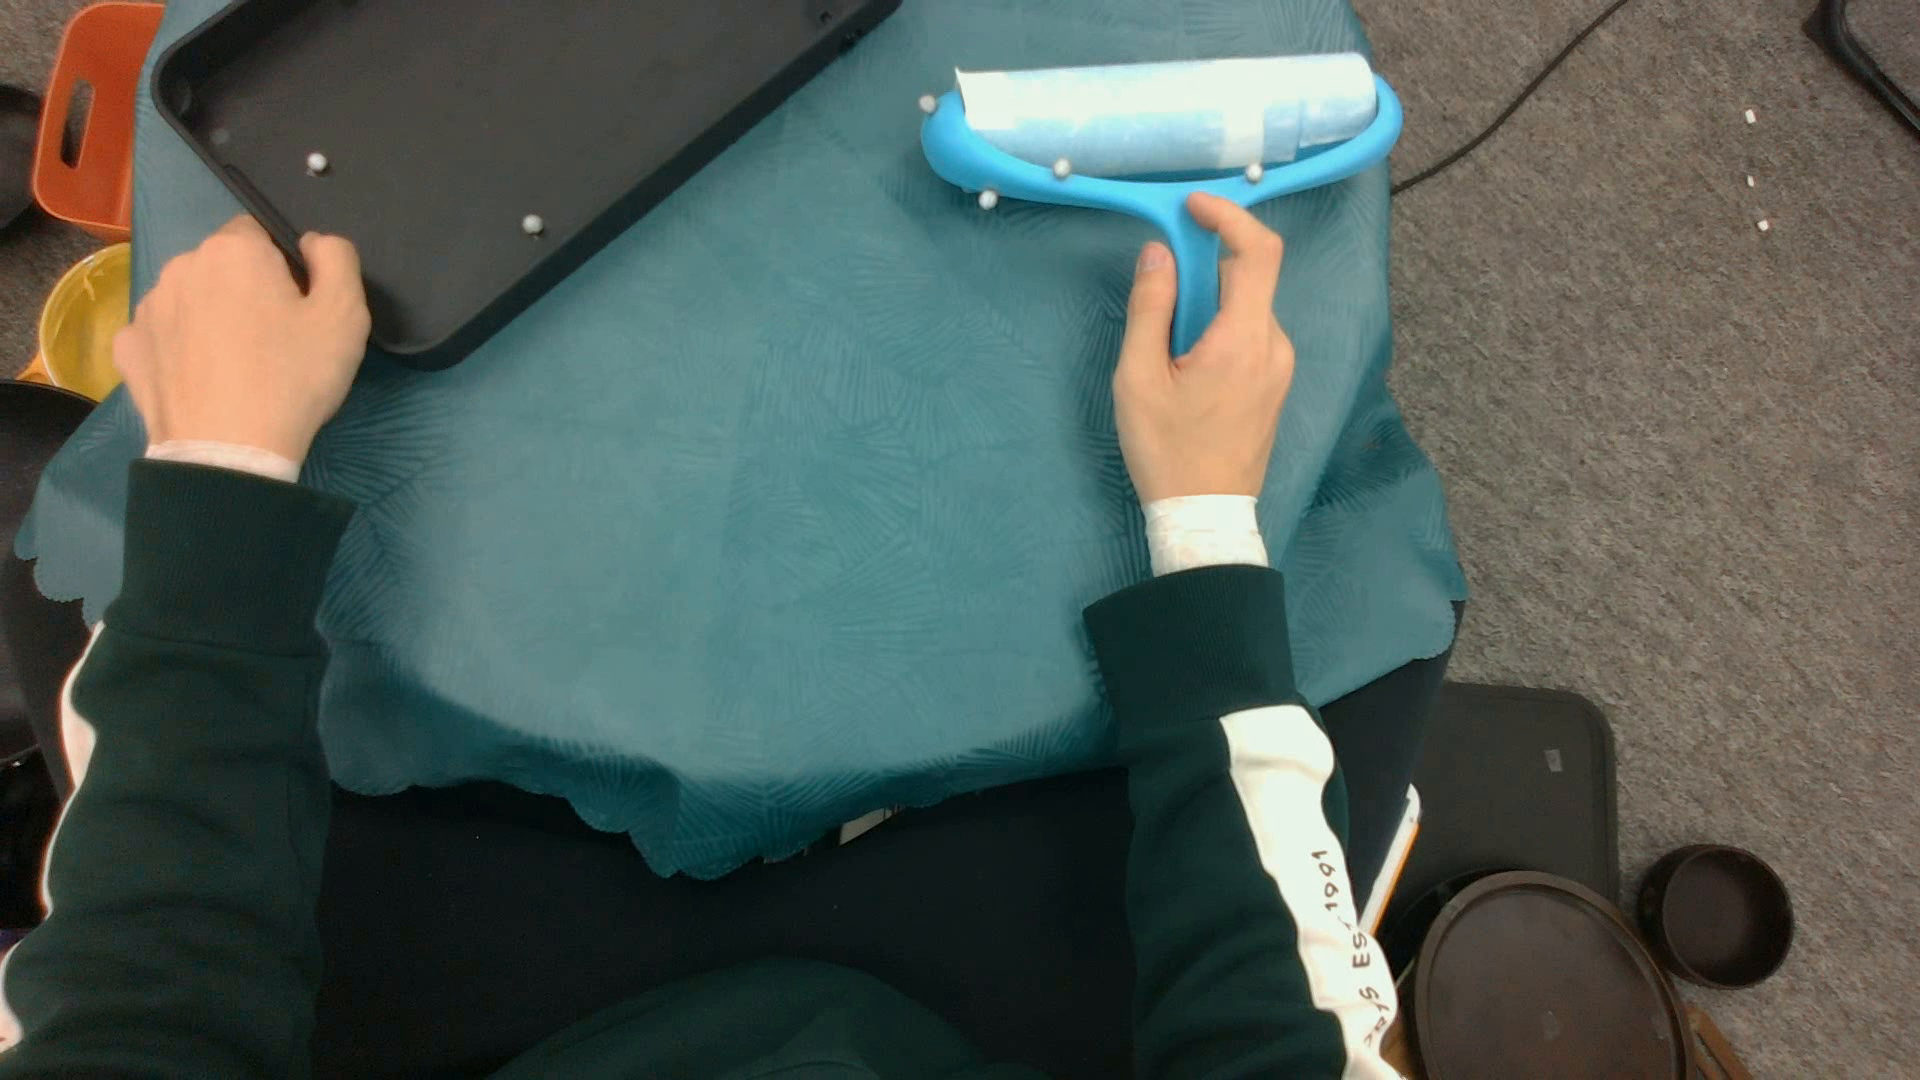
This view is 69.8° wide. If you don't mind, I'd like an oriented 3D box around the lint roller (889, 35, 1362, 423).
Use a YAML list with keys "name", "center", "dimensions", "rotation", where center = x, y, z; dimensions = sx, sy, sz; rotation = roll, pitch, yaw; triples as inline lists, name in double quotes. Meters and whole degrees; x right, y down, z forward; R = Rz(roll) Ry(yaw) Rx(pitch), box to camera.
- name: "lint roller"
  center: [0.091, -0.149, 0.646]
  dimensions: [0.229, 0.068, 0.180]
  rotation: [-9, 77, -10]

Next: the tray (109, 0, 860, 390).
- name: "tray"
  center: [-0.208, -0.232, 0.644]
  dimensions: [0.184, 0.037, 0.319]
  rotation: [43, 77, 3]
